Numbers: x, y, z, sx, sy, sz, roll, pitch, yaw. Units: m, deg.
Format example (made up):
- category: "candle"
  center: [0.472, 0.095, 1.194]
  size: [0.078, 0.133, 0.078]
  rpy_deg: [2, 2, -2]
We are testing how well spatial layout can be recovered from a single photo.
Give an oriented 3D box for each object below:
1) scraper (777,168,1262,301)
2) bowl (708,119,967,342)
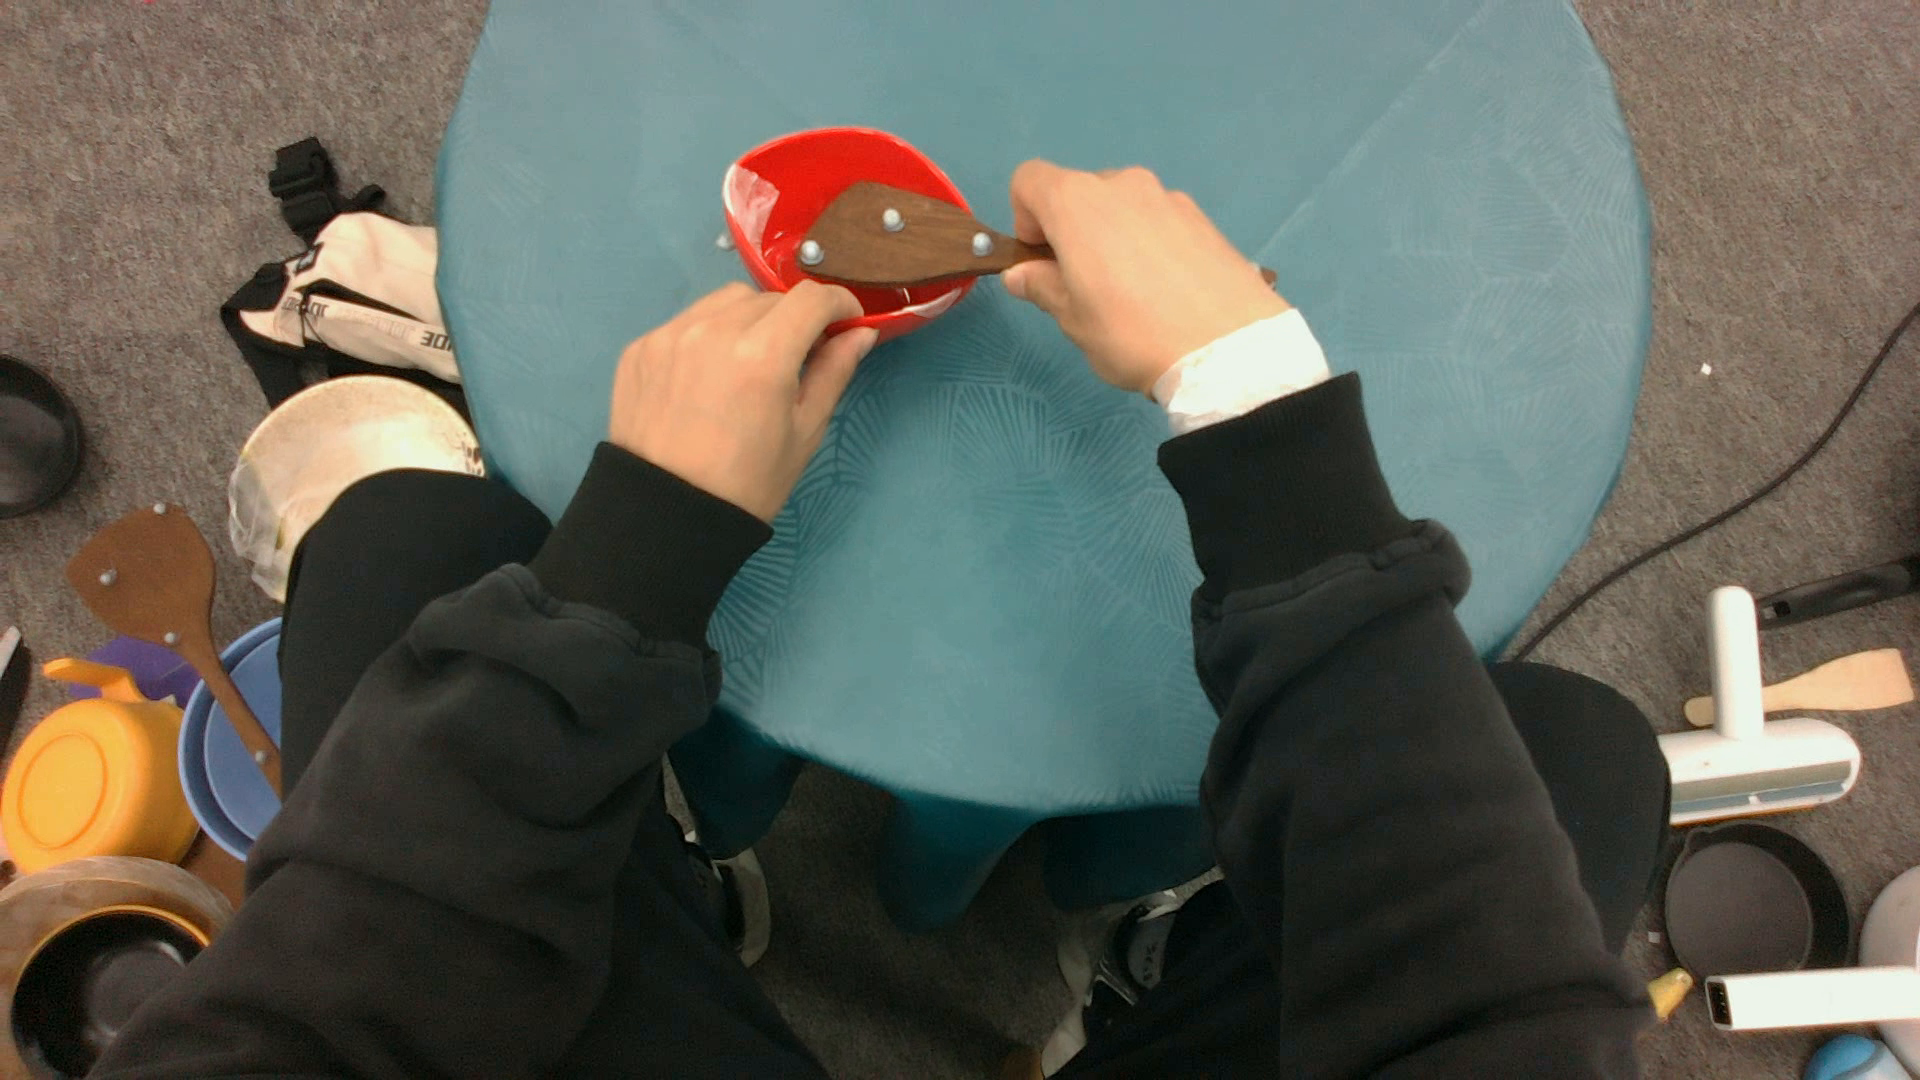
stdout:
- category: "scraper"
  center: [0.024, -0.127, 0.594]
  size: [0.211, 0.011, 0.076]
  rpy_deg: [13, 49, 19]
- category: "bowl"
  center: [-0.059, -0.134, 0.631]
  size: [0.119, 0.051, 0.119]
  rpy_deg: [9, 56, -14]
